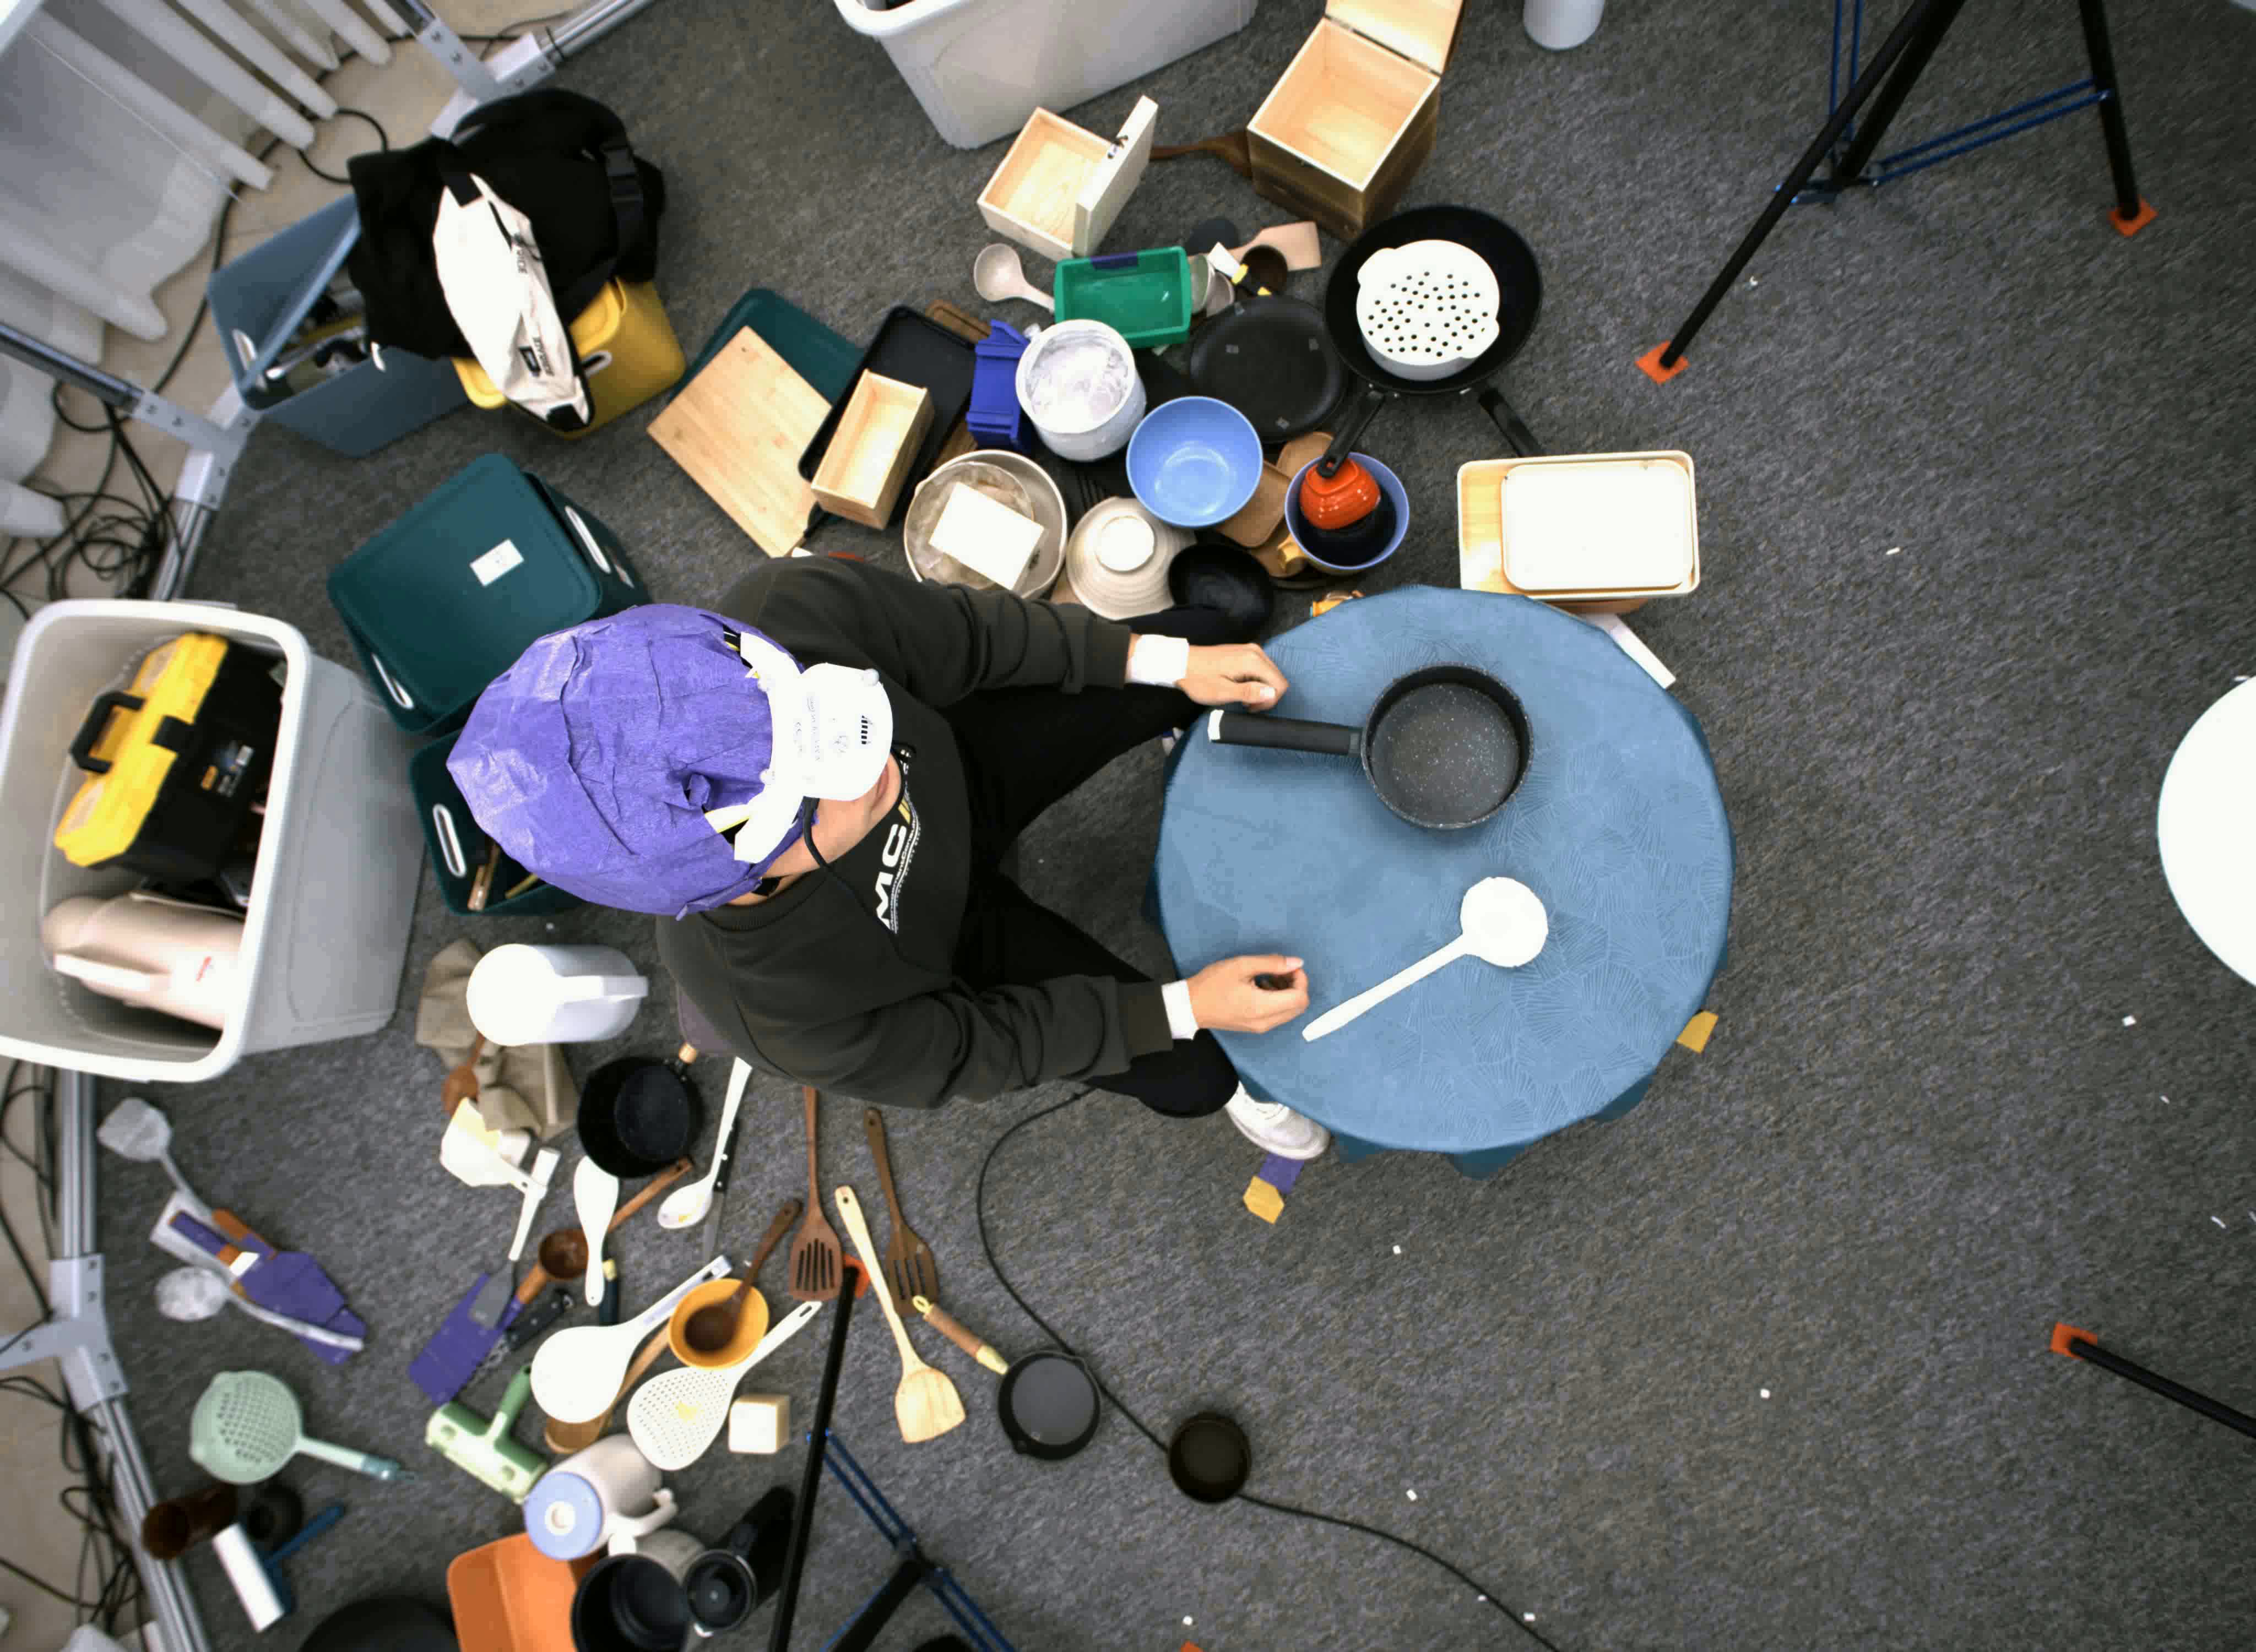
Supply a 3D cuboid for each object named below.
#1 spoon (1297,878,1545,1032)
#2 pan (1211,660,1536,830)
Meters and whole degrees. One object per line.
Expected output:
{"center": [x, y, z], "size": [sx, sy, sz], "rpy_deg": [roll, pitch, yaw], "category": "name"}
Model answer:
{"center": [0.294, 0.140, 1.423], "size": [0.279, 0.059, 0.100], "rpy_deg": [-28, 79, 8], "category": "spoon"}
{"center": [0.251, -0.091, 1.431], "size": [0.329, 0.086, 0.171], "rpy_deg": [8, 87, 10], "category": "pan"}
